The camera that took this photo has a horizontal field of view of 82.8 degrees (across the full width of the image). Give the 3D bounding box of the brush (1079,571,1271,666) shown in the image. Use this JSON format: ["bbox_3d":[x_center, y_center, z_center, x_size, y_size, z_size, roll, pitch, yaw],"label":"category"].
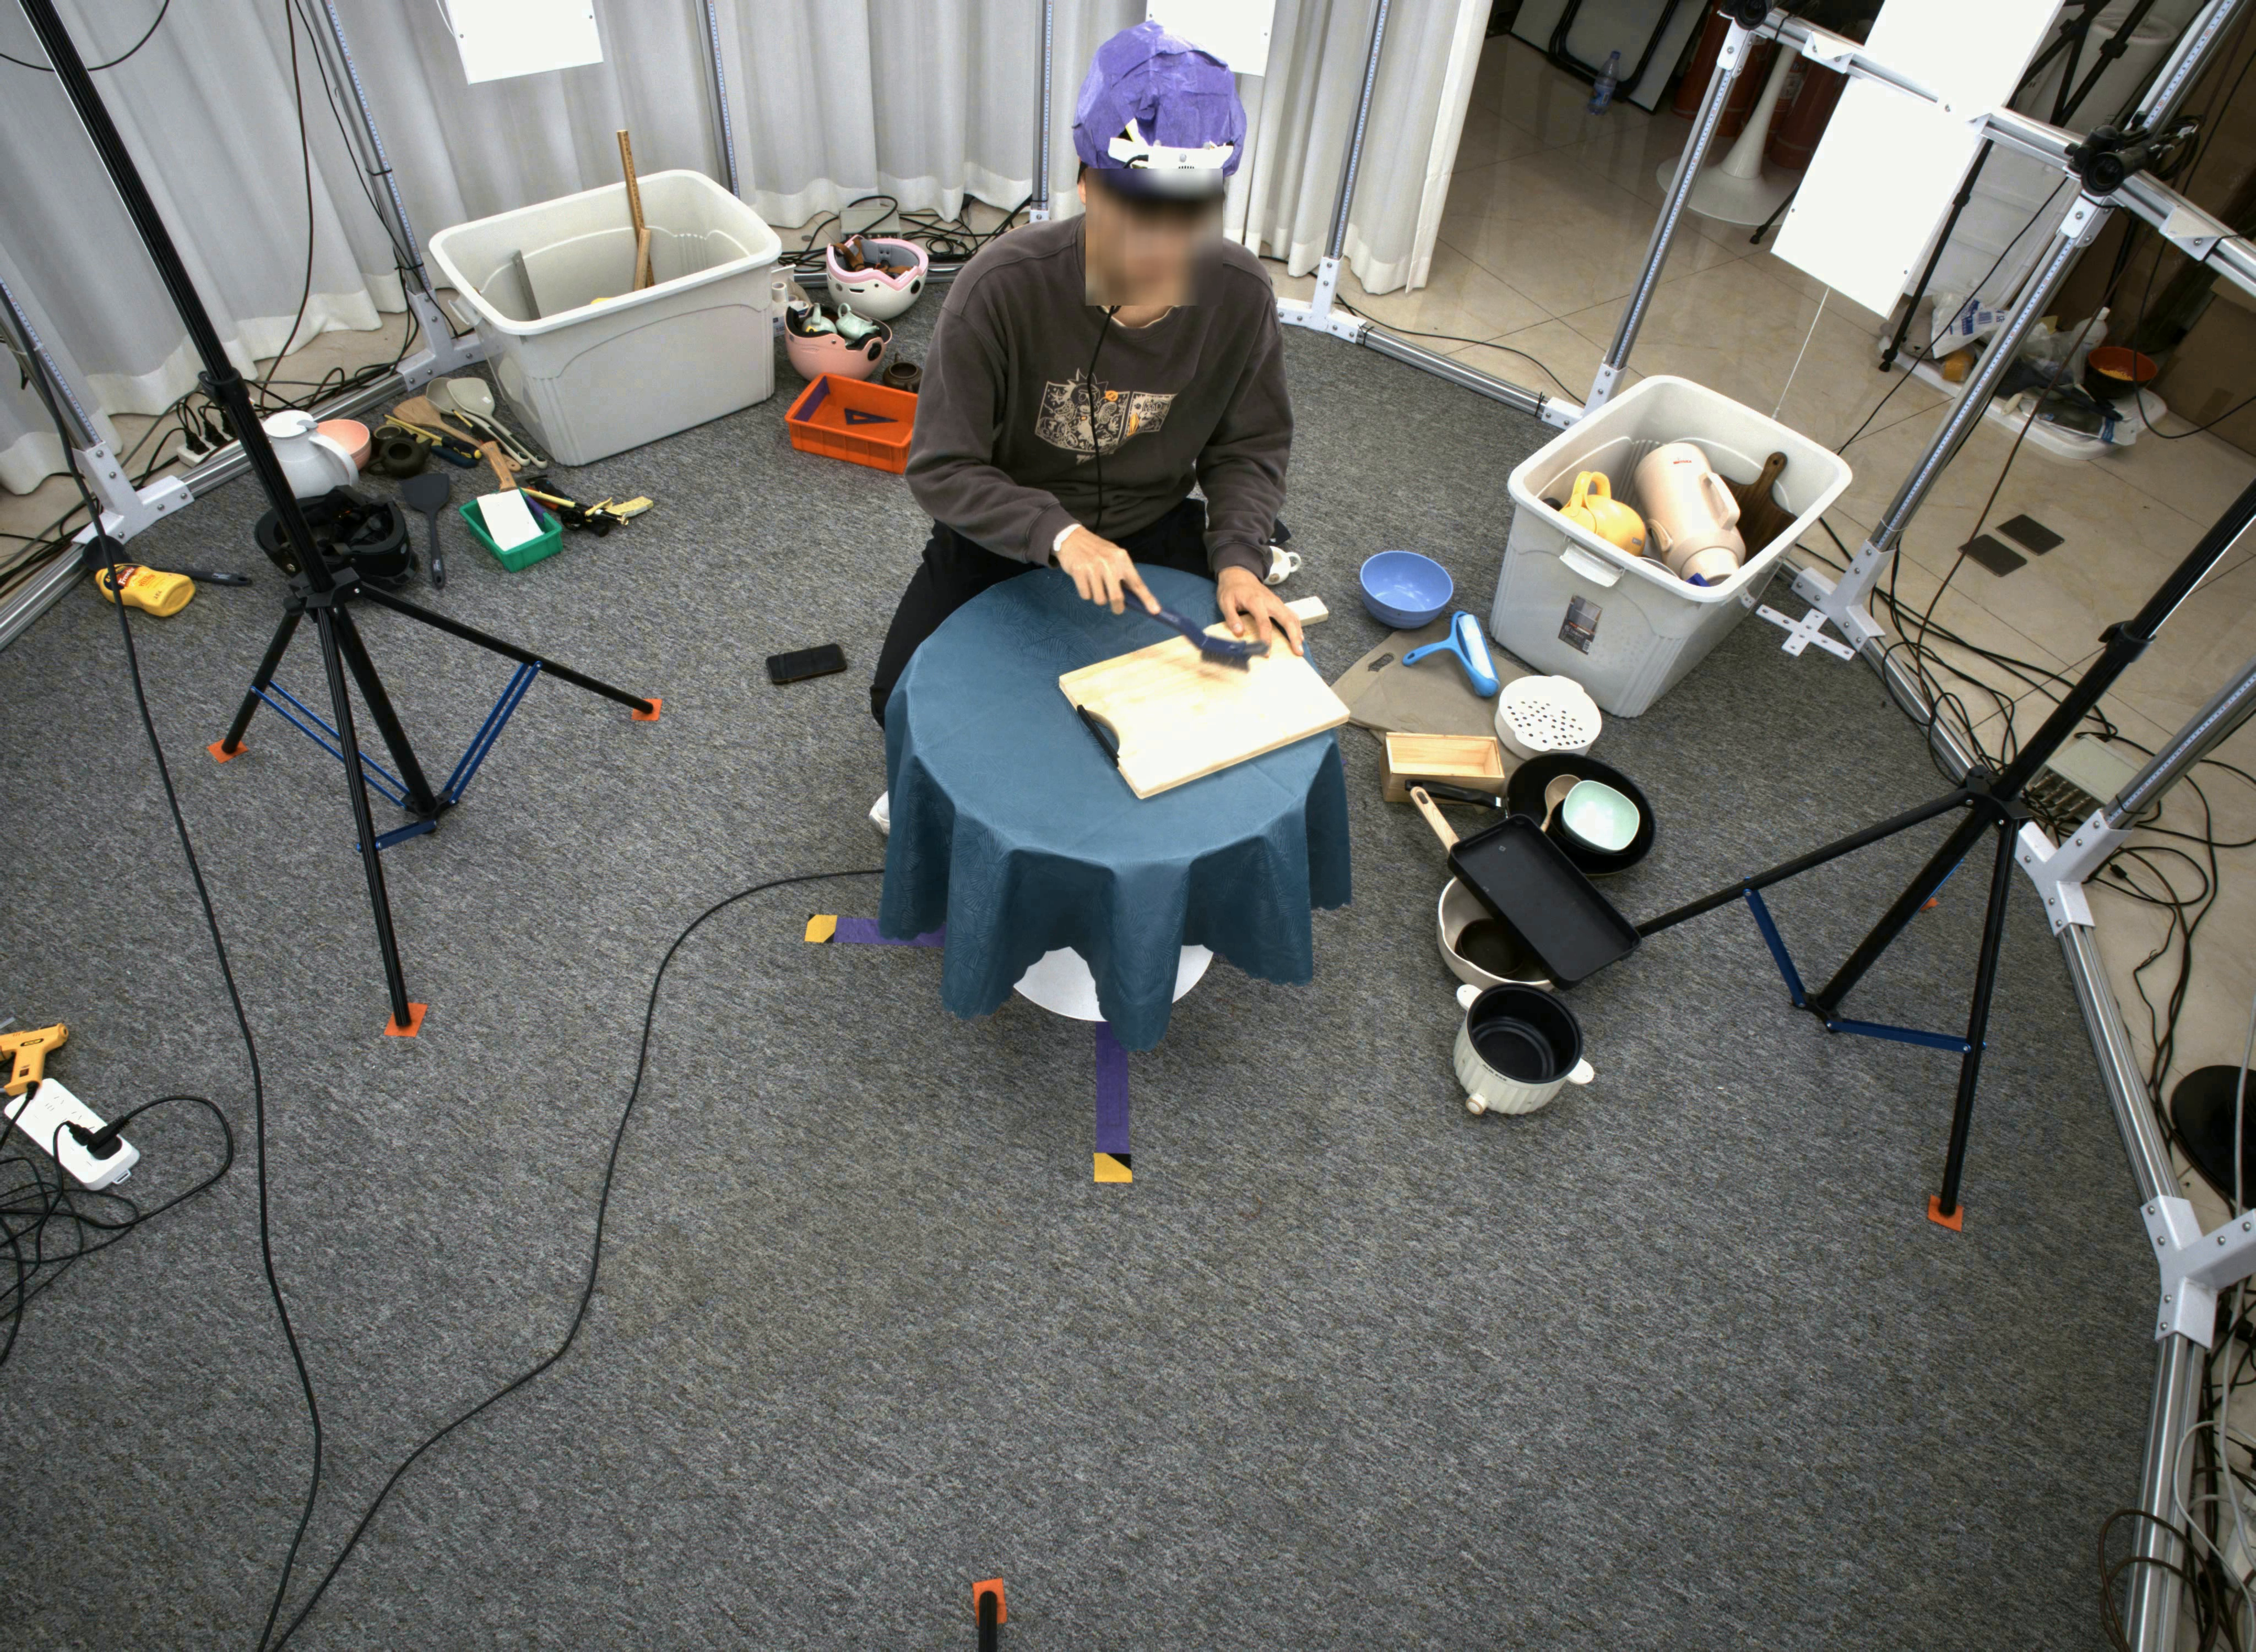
[{"bbox_3d":[0.064,-0.299,1.798,0.273,0.094,0.034,28,62,-2],"label":"brush"}]

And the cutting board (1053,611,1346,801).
[{"bbox_3d":[0.102,-0.178,1.817,0.349,0.023,0.256,-21,53,-21],"label":"cutting board"}]
